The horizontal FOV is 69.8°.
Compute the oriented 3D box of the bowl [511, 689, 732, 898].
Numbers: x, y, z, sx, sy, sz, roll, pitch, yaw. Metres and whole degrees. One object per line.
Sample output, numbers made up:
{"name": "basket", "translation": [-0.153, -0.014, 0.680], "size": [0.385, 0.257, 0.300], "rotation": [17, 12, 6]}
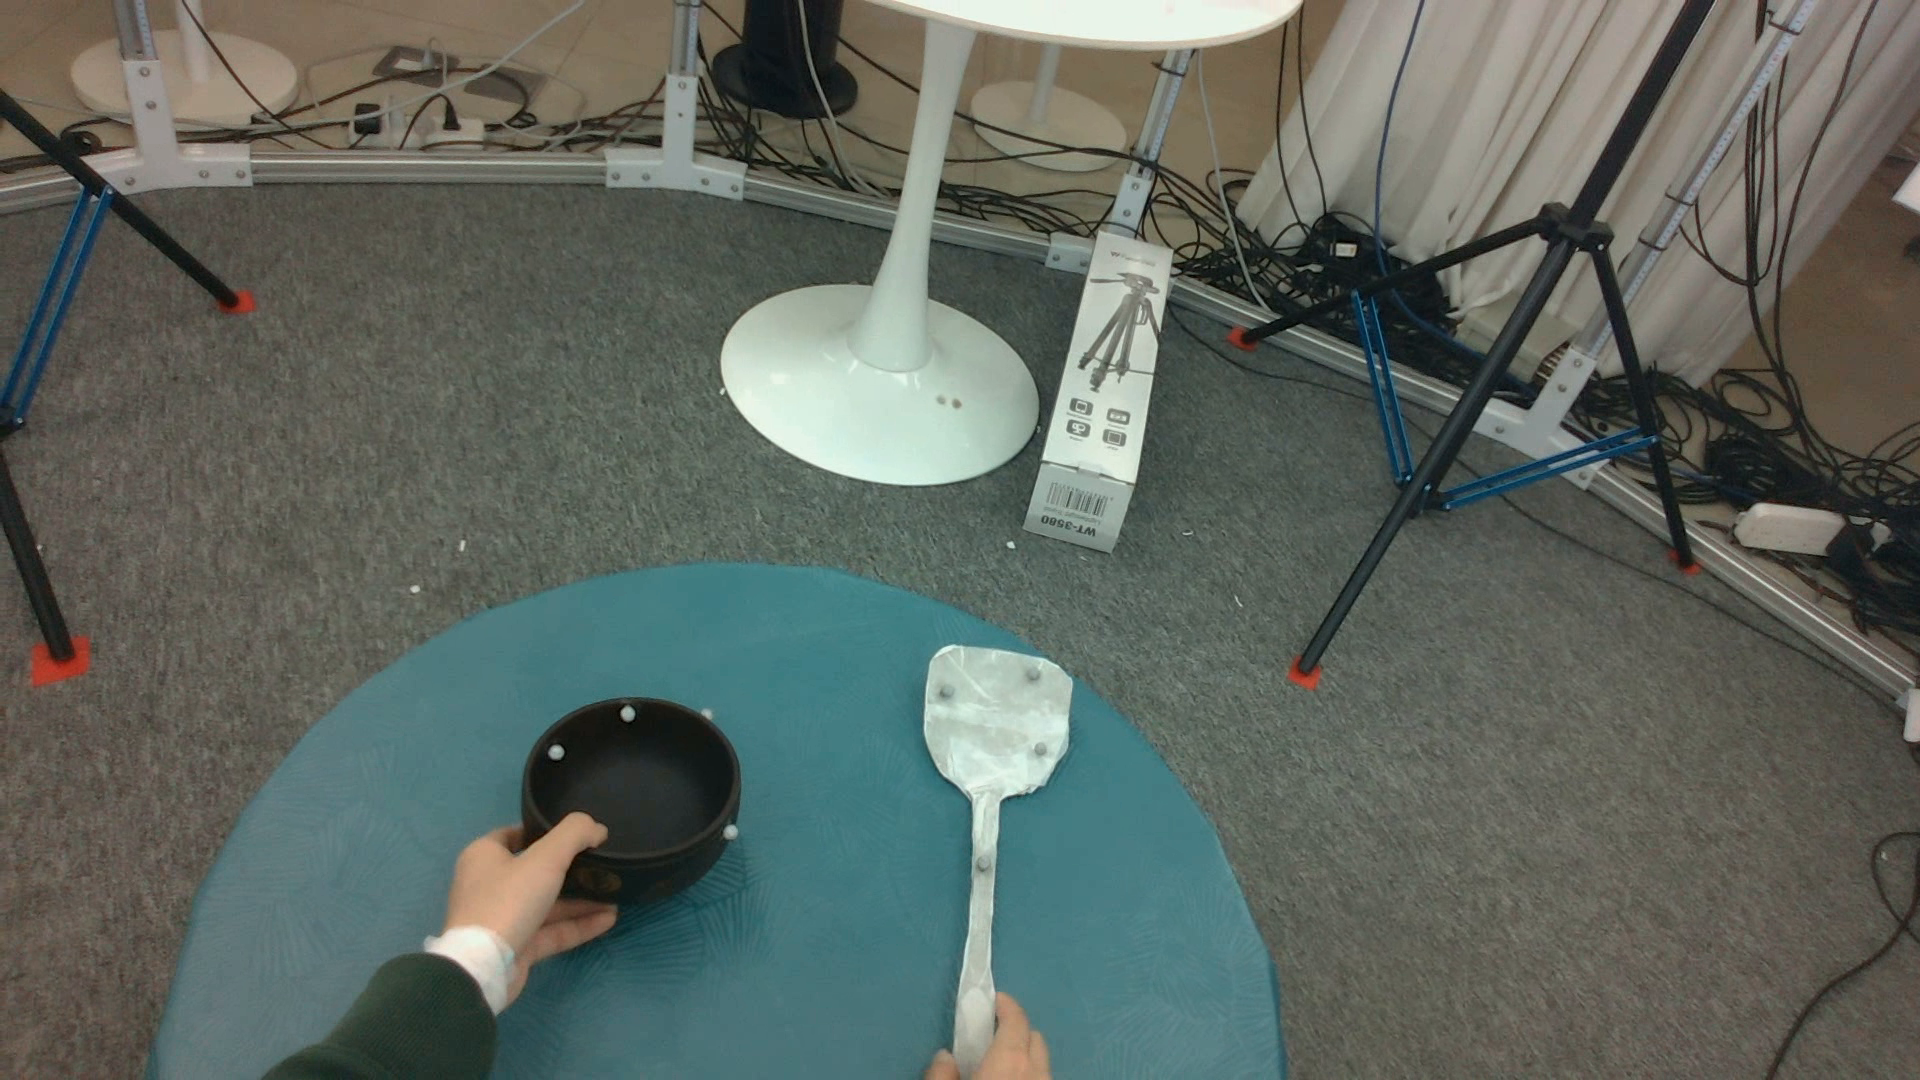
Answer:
{"name": "bowl", "translation": [-0.188, 0.148, 0.769], "size": [0.118, 0.069, 0.118], "rotation": [7, 40, -6]}

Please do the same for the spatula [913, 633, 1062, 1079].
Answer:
{"name": "spatula", "translation": [0.005, 0.201, 0.800], "size": [0.099, 0.044, 0.366], "rotation": [13, 41, -5]}
